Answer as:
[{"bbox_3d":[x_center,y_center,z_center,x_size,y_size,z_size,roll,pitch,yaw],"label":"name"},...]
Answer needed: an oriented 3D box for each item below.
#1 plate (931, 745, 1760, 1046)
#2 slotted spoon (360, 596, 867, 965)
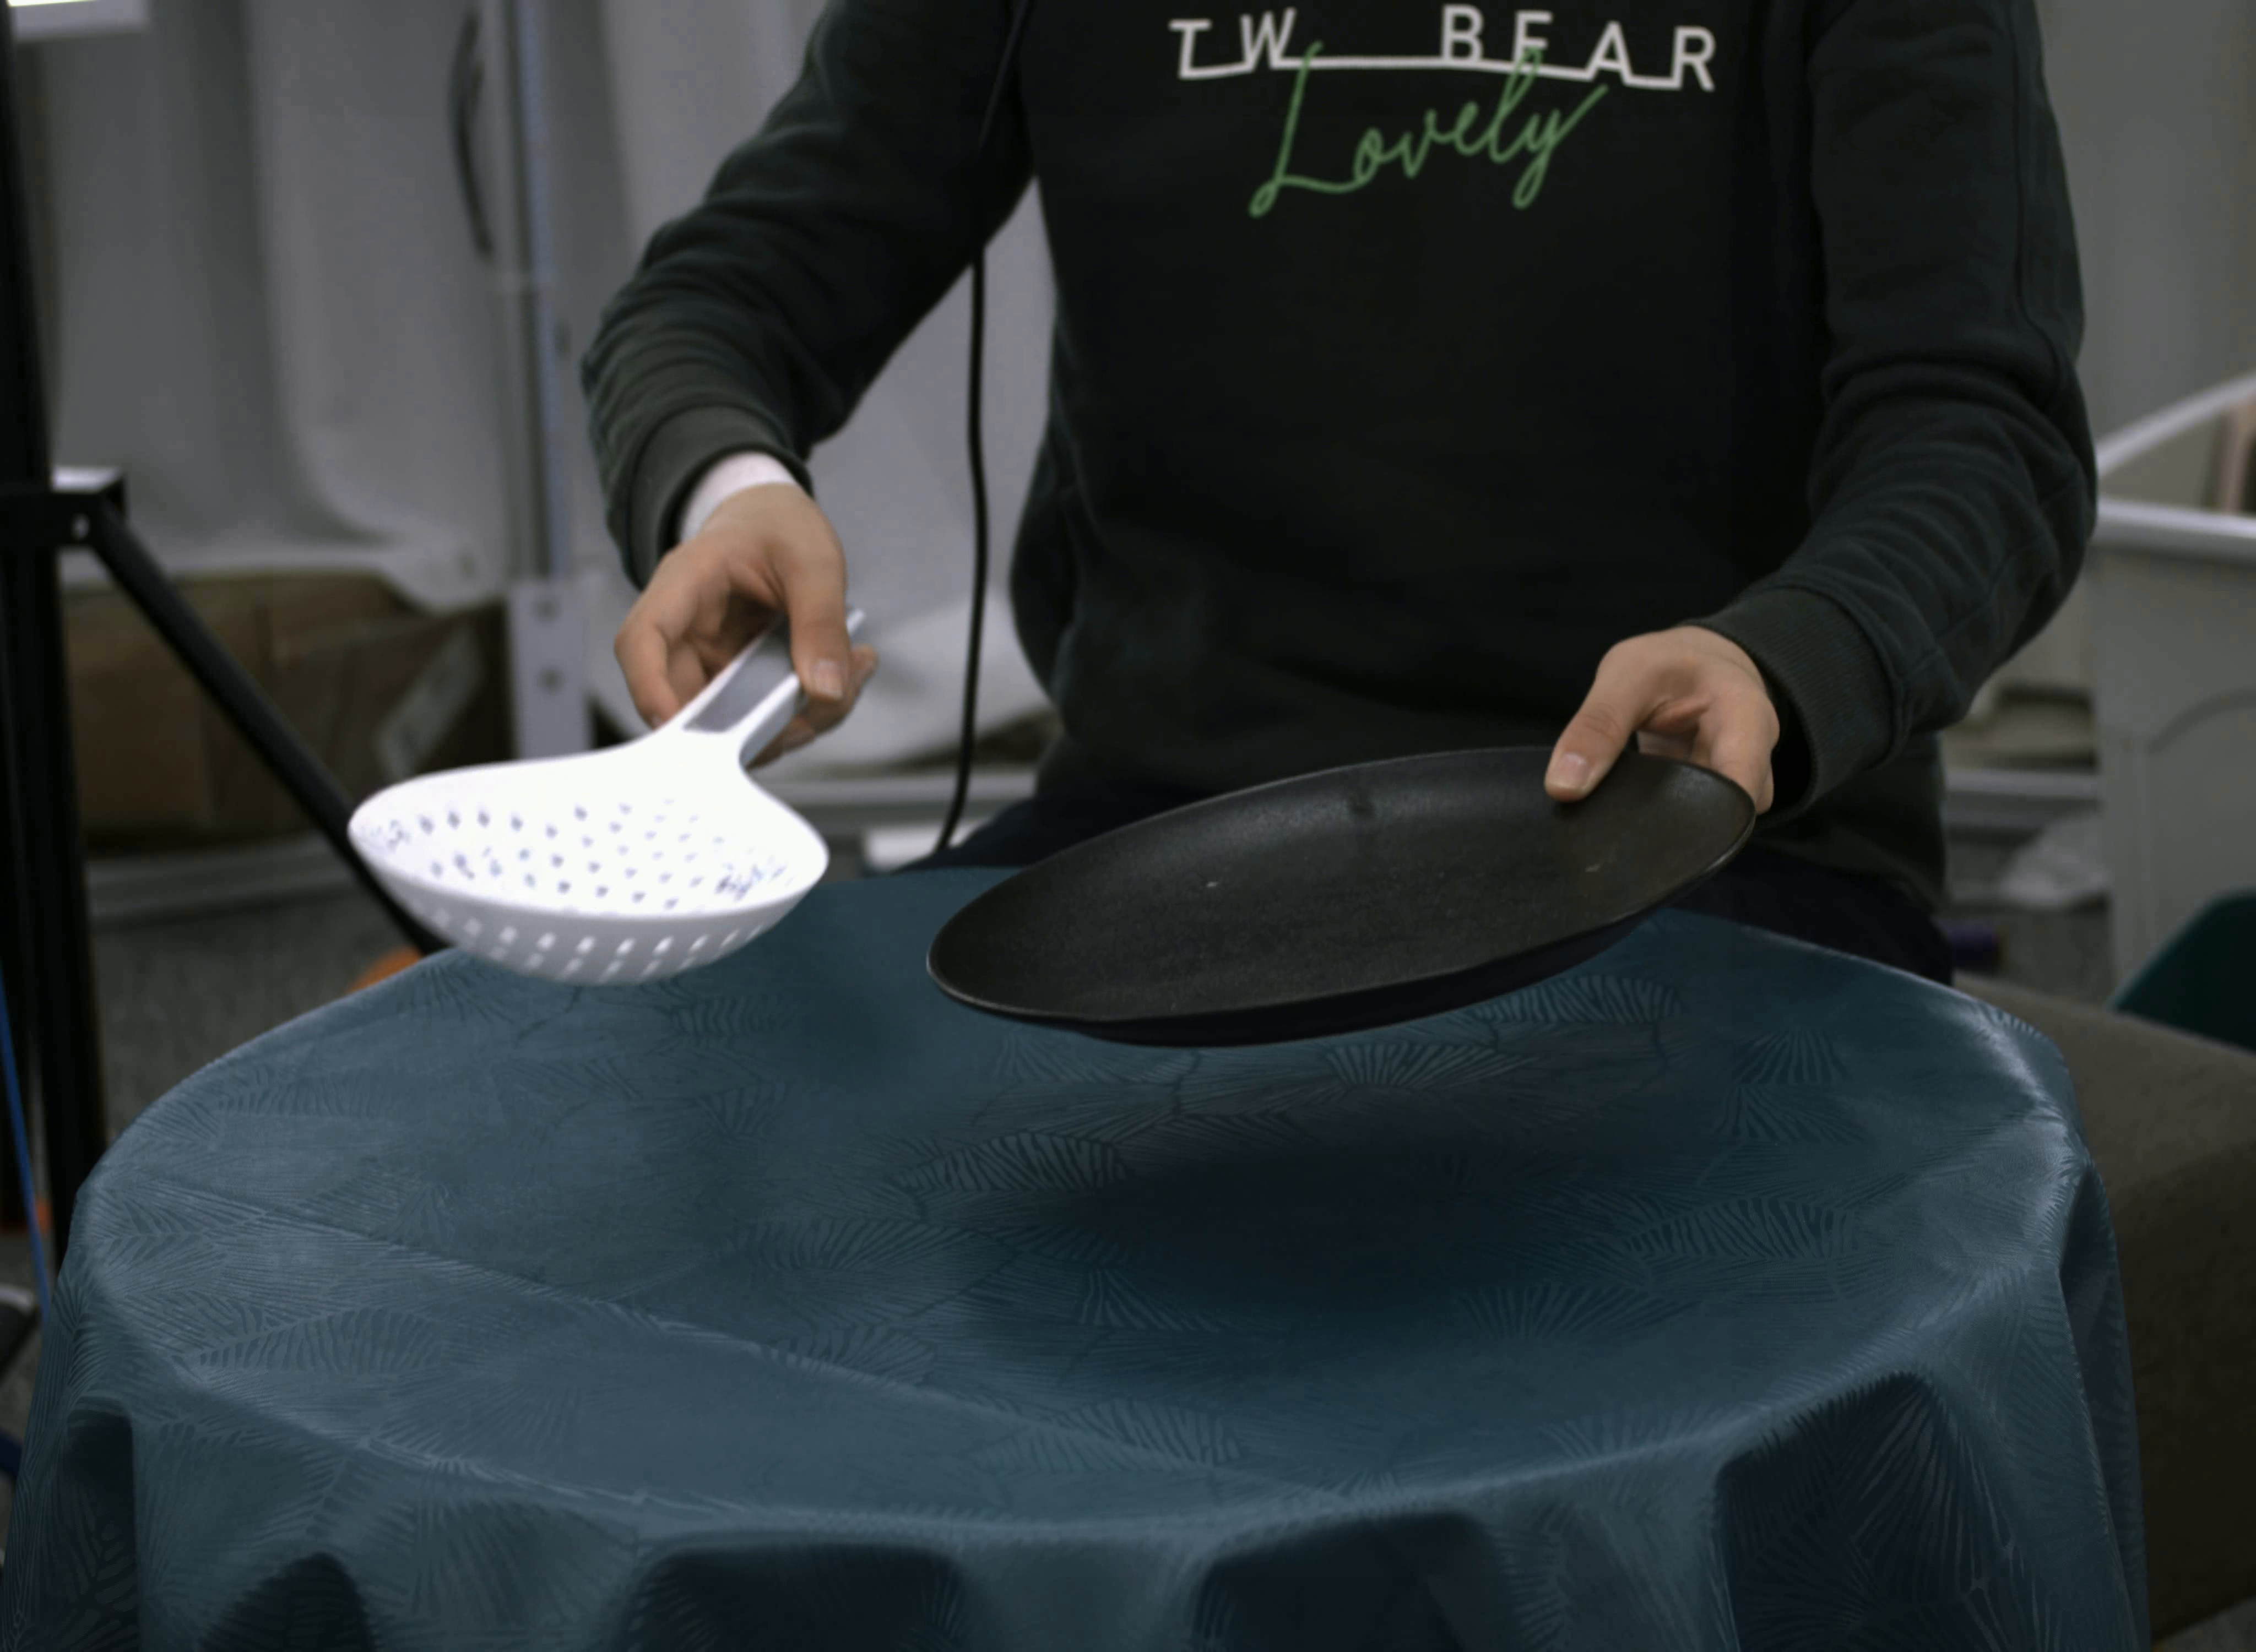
[{"bbox_3d":[0.064,0.022,1.537,0.243,0.023,0.245,-12,14,1],"label":"plate"},{"bbox_3d":[-0.133,-0.023,1.628,0.136,0.046,0.348,9,22,9],"label":"slotted spoon"}]
